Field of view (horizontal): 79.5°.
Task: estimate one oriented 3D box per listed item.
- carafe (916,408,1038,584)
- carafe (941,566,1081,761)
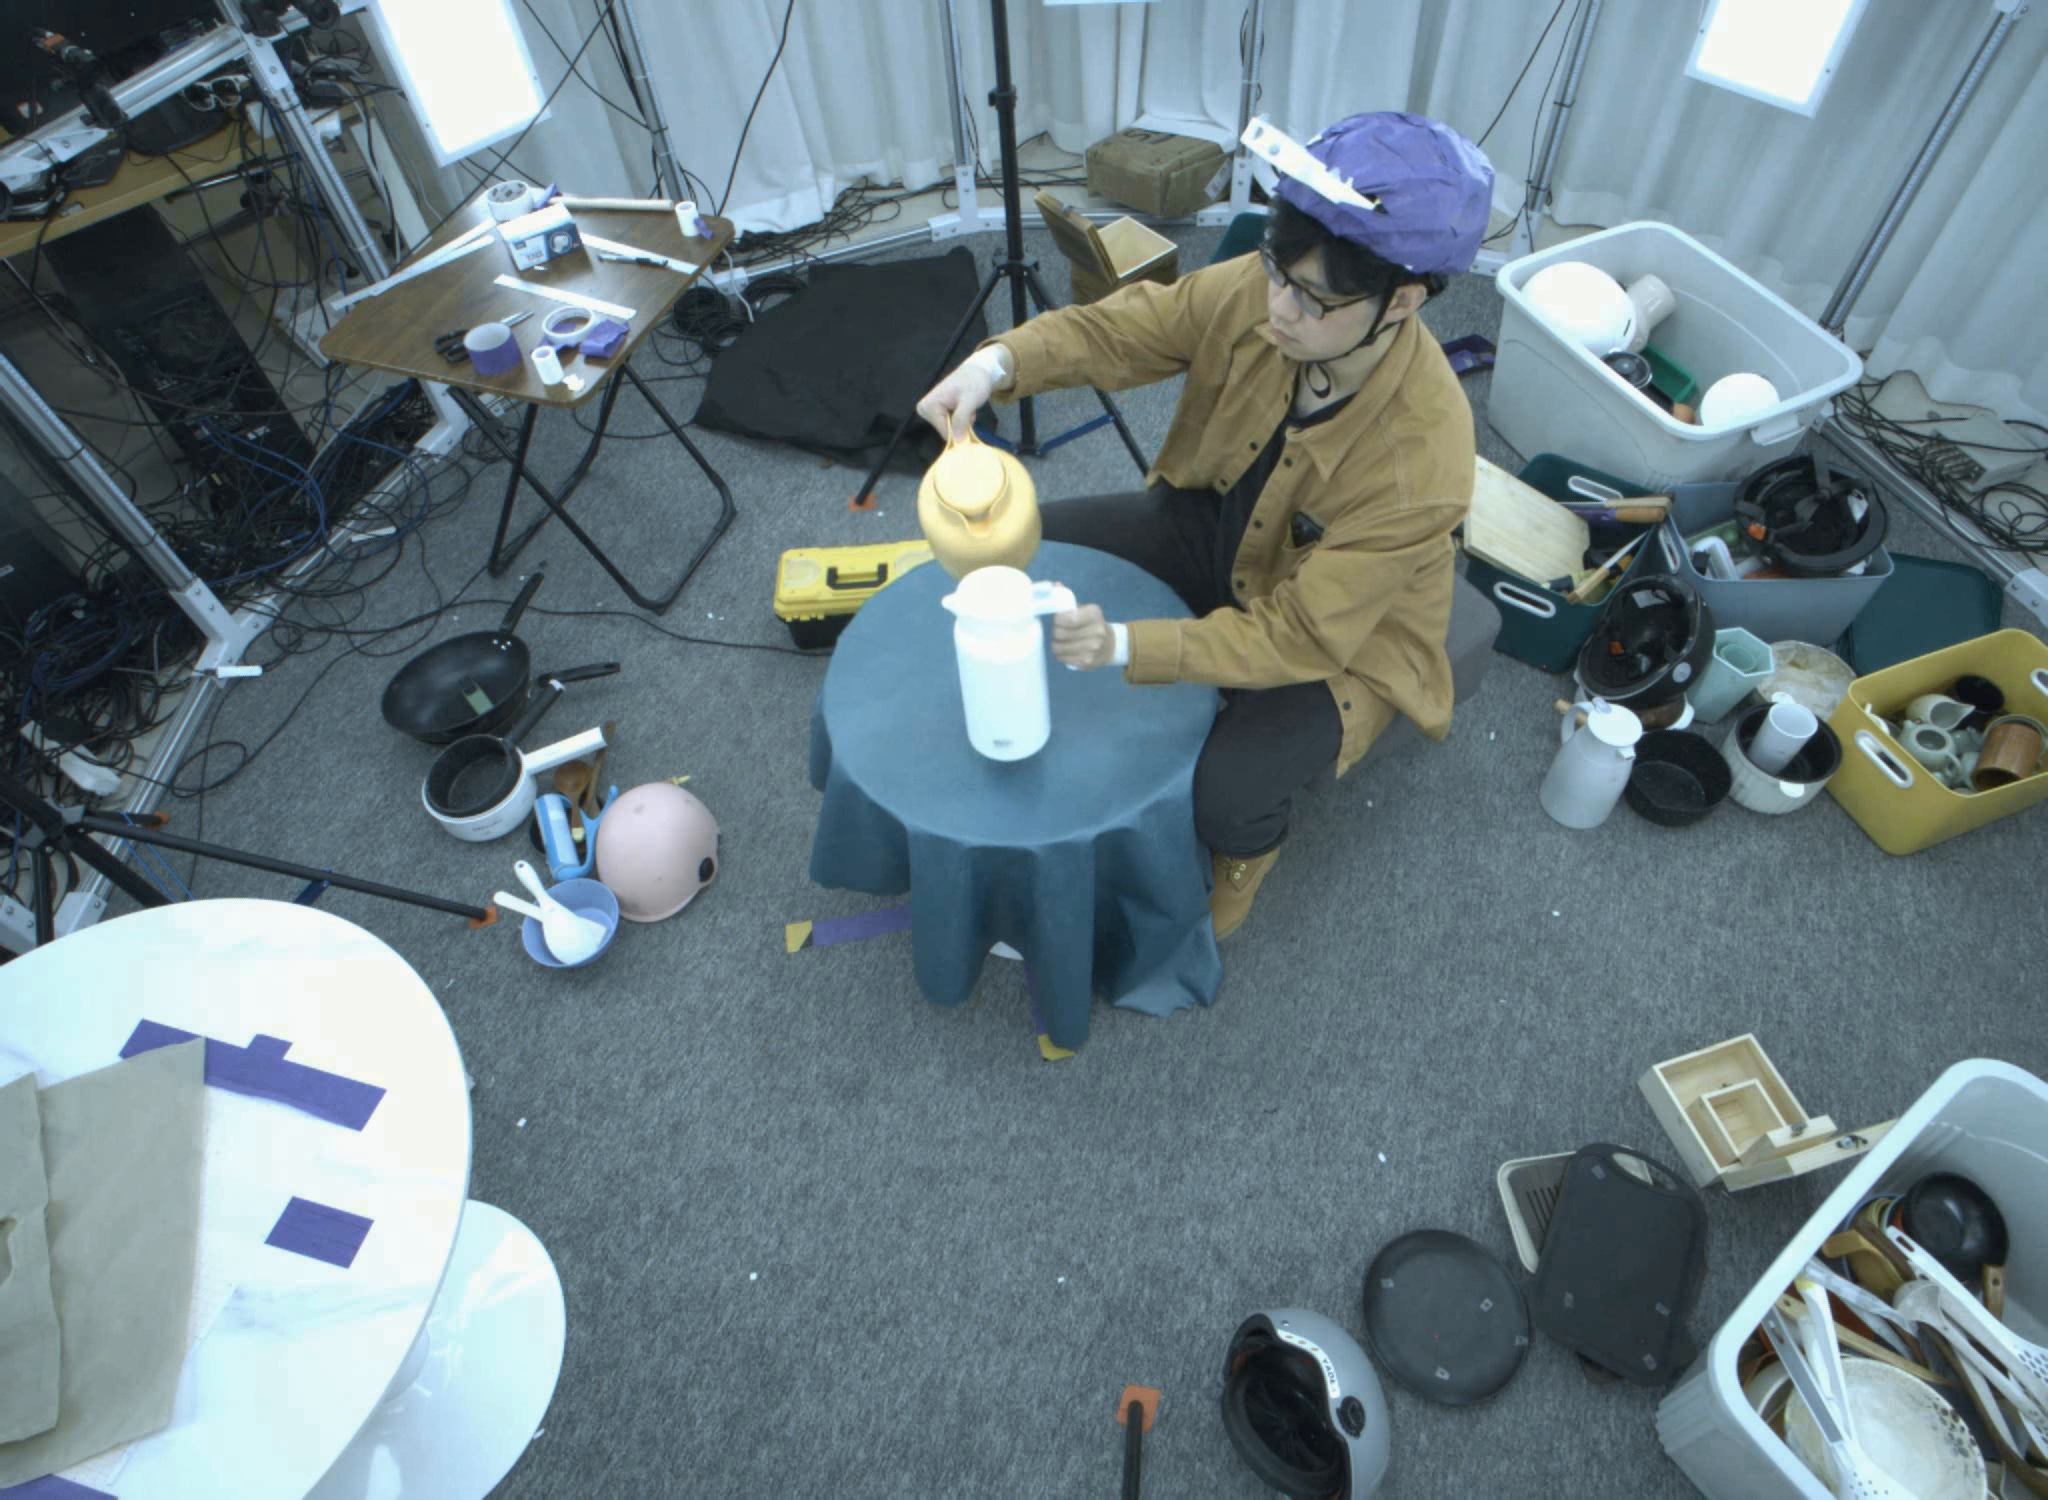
[{"bbox_3d":[-0.067,-0.343,1.639,0.164,0.261,0.201,-9,83,-1],"label":"carafe"},{"bbox_3d":[-0.012,-0.114,1.636,0.173,0.272,0.122,-7,47,-2],"label":"carafe"}]
